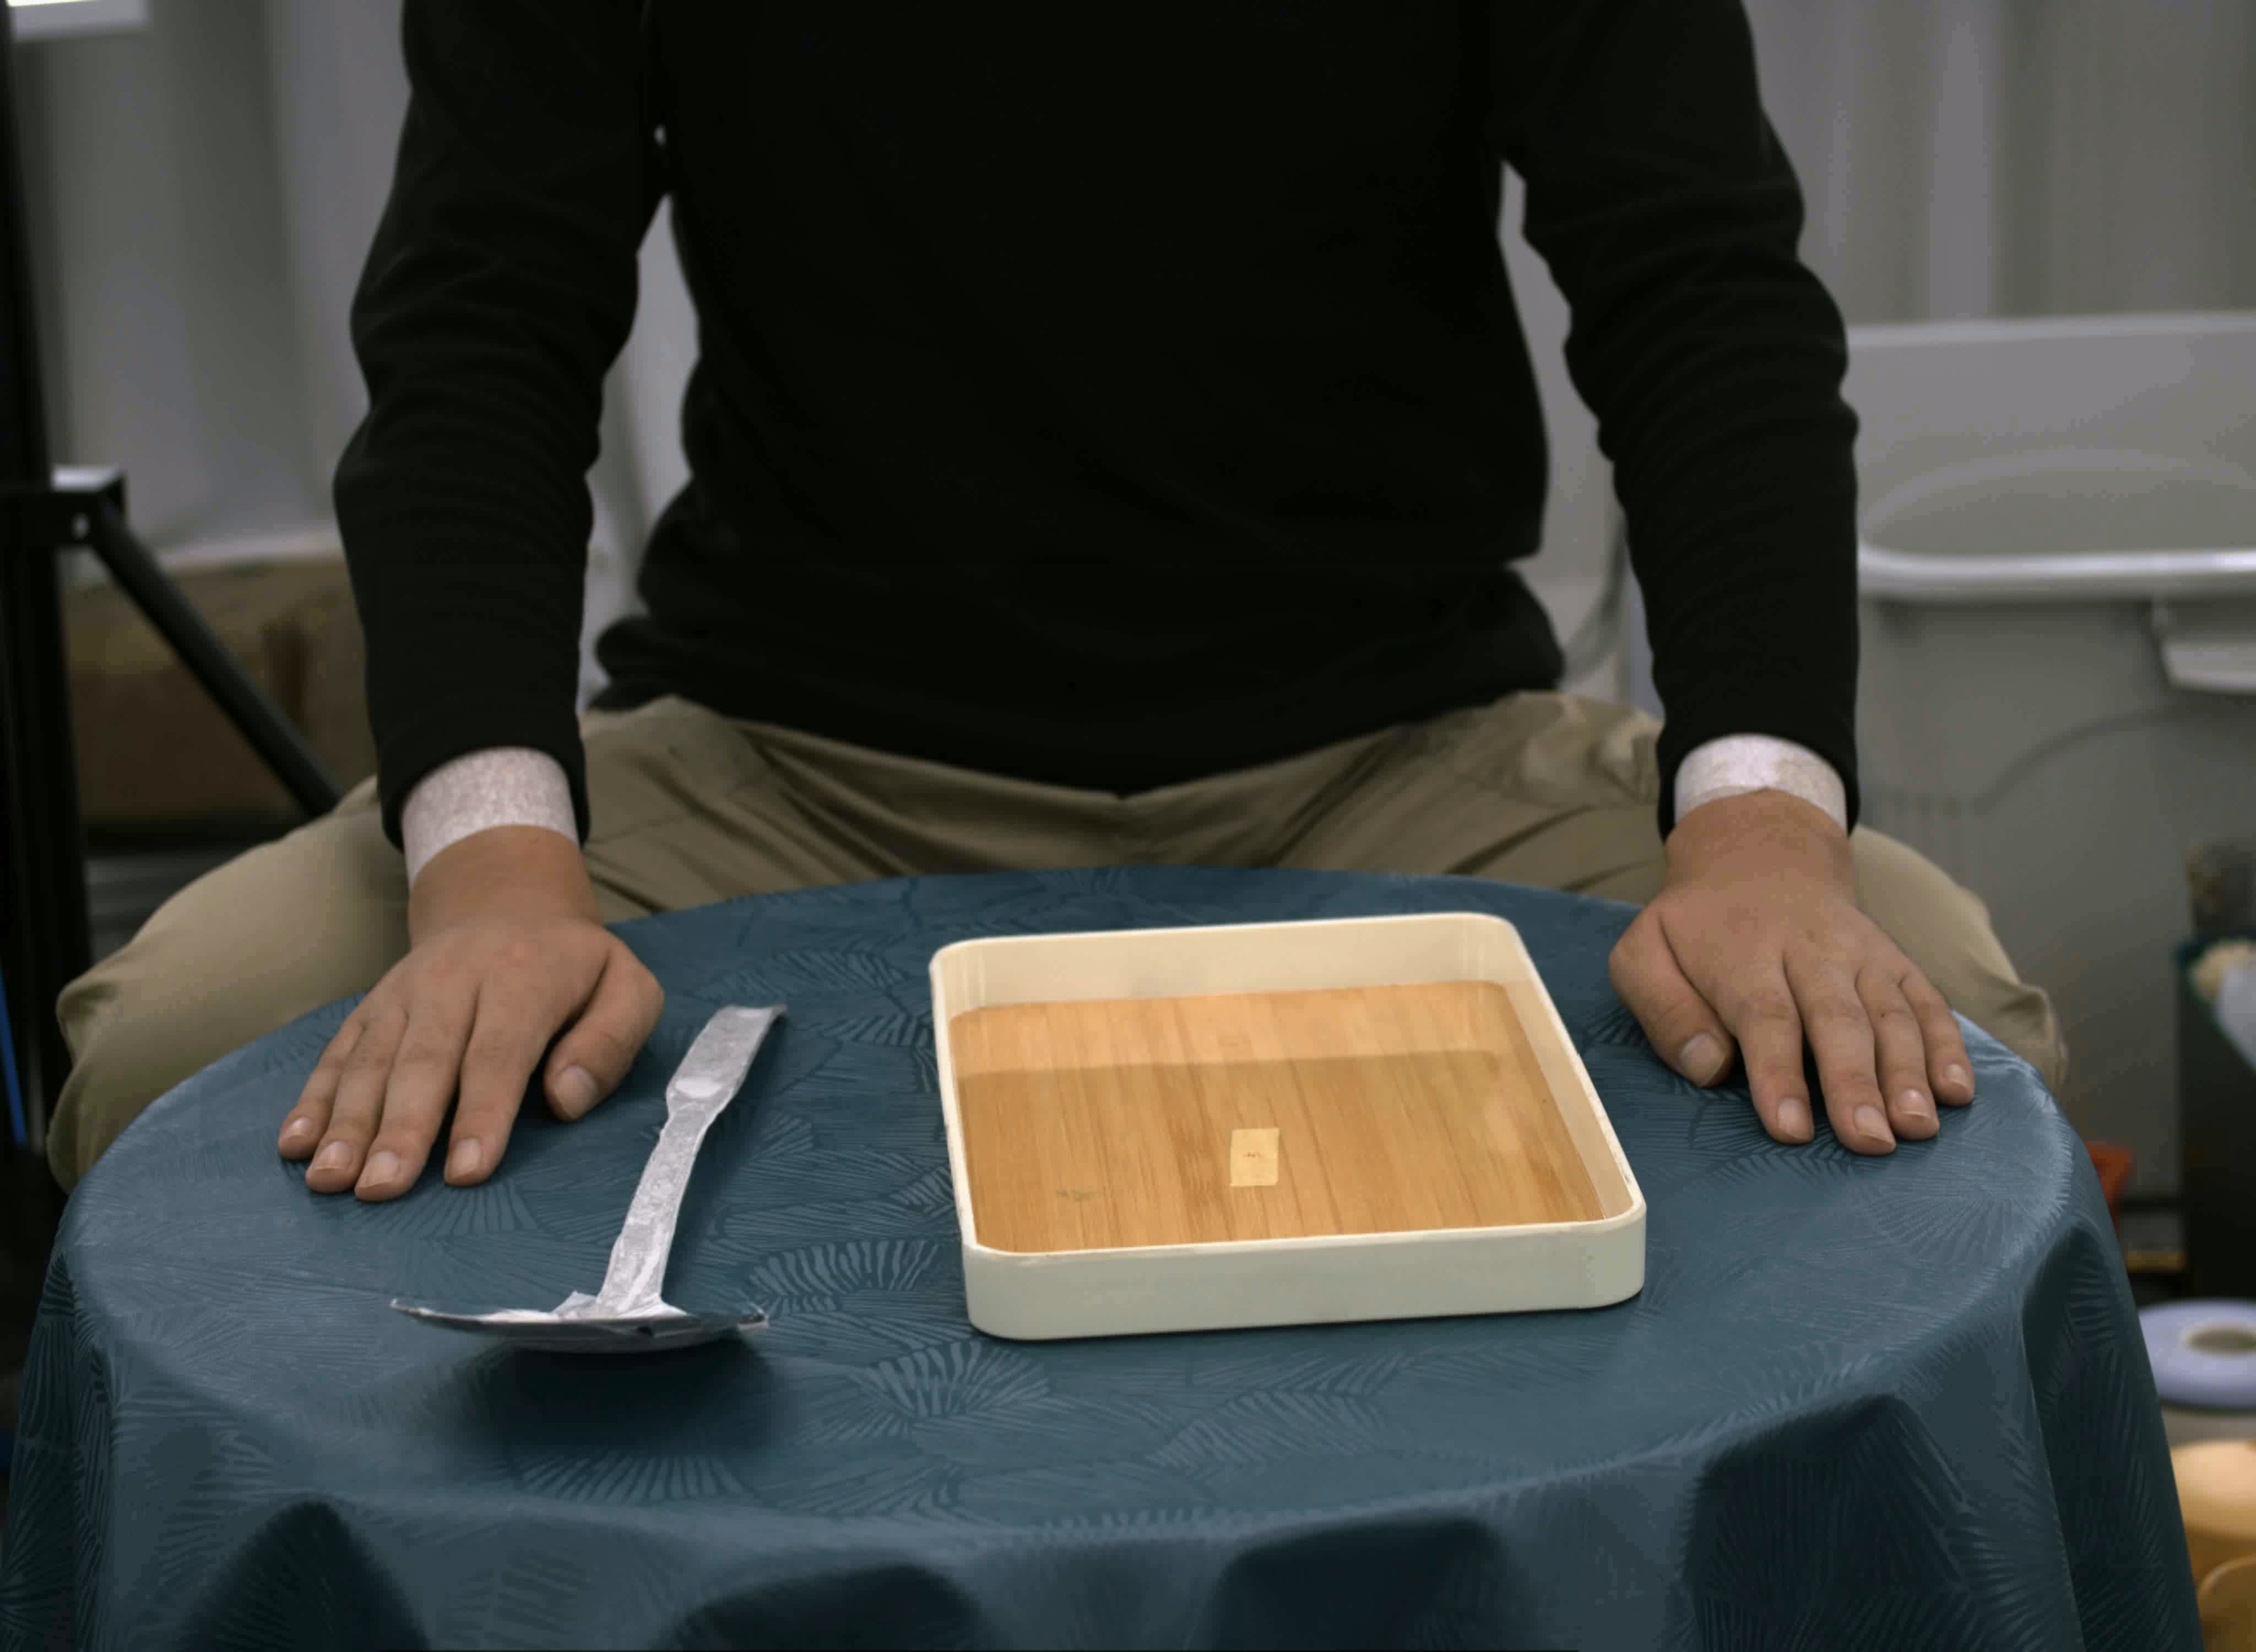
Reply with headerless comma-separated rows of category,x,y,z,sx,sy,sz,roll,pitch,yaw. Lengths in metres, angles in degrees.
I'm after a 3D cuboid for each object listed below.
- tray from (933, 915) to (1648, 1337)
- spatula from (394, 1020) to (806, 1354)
tray,0.041,0.085,1.582,0.190,0.027,0.302,-3,16,-2
spatula,-0.131,0.096,1.552,0.099,0.045,0.365,-2,16,5
